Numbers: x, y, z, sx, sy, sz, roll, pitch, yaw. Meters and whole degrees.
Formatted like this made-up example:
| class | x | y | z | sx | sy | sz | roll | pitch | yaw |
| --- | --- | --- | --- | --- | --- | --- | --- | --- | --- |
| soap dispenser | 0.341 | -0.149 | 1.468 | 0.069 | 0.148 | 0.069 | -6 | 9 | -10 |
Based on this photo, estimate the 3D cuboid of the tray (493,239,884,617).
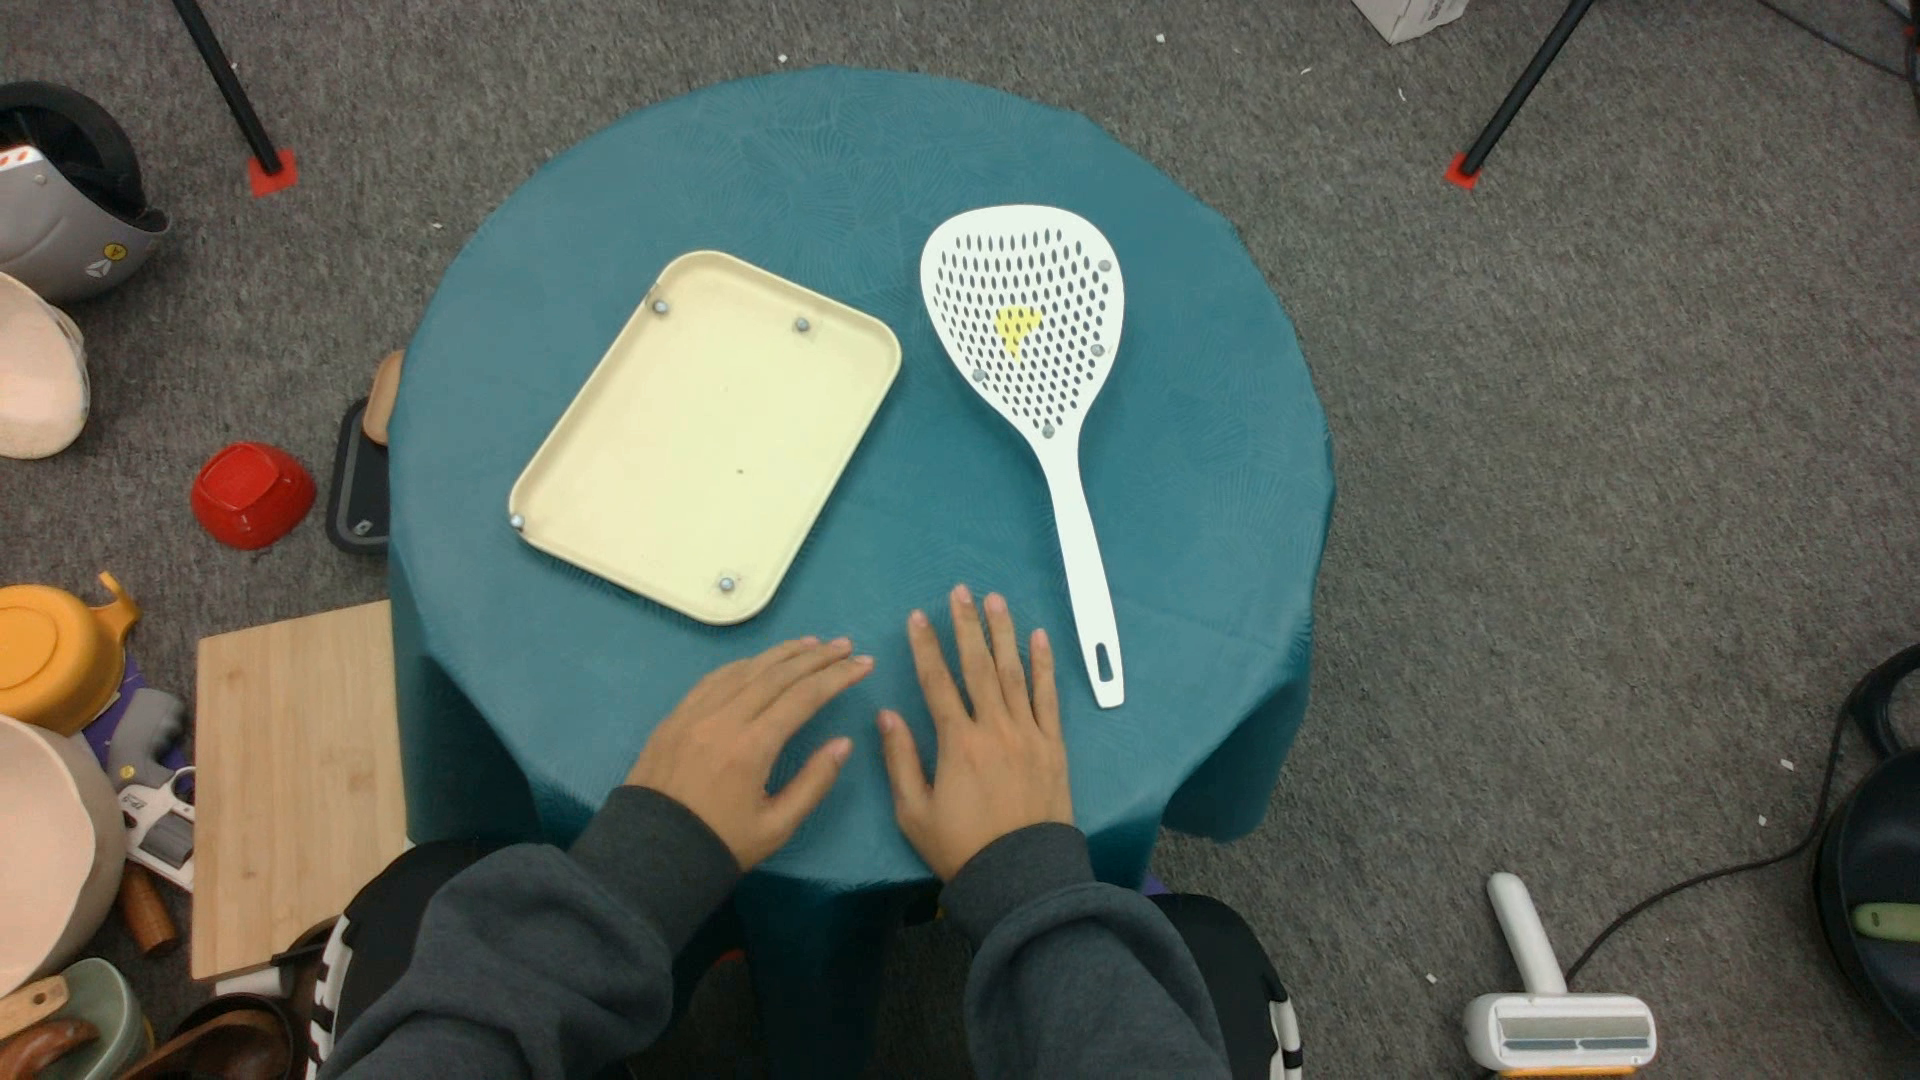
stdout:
| class | x | y | z | sx | sy | sz | roll | pitch | yaw |
| --- | --- | --- | --- | --- | --- | --- | --- | --- | --- |
| tray | -0.163 | -0.075 | 0.859 | 0.171 | 0.017 | 0.240 | 24 | 64 | 4 |

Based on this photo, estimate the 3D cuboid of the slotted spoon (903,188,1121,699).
| class | x | y | z | sx | sy | sz | roll | pitch | yaw |
| --- | --- | --- | --- | --- | --- | --- | --- | --- | --- |
| slotted spoon | 0.051 | -0.070 | 0.871 | 0.137 | 0.050 | 0.349 | -7 | 66 | -14 |
